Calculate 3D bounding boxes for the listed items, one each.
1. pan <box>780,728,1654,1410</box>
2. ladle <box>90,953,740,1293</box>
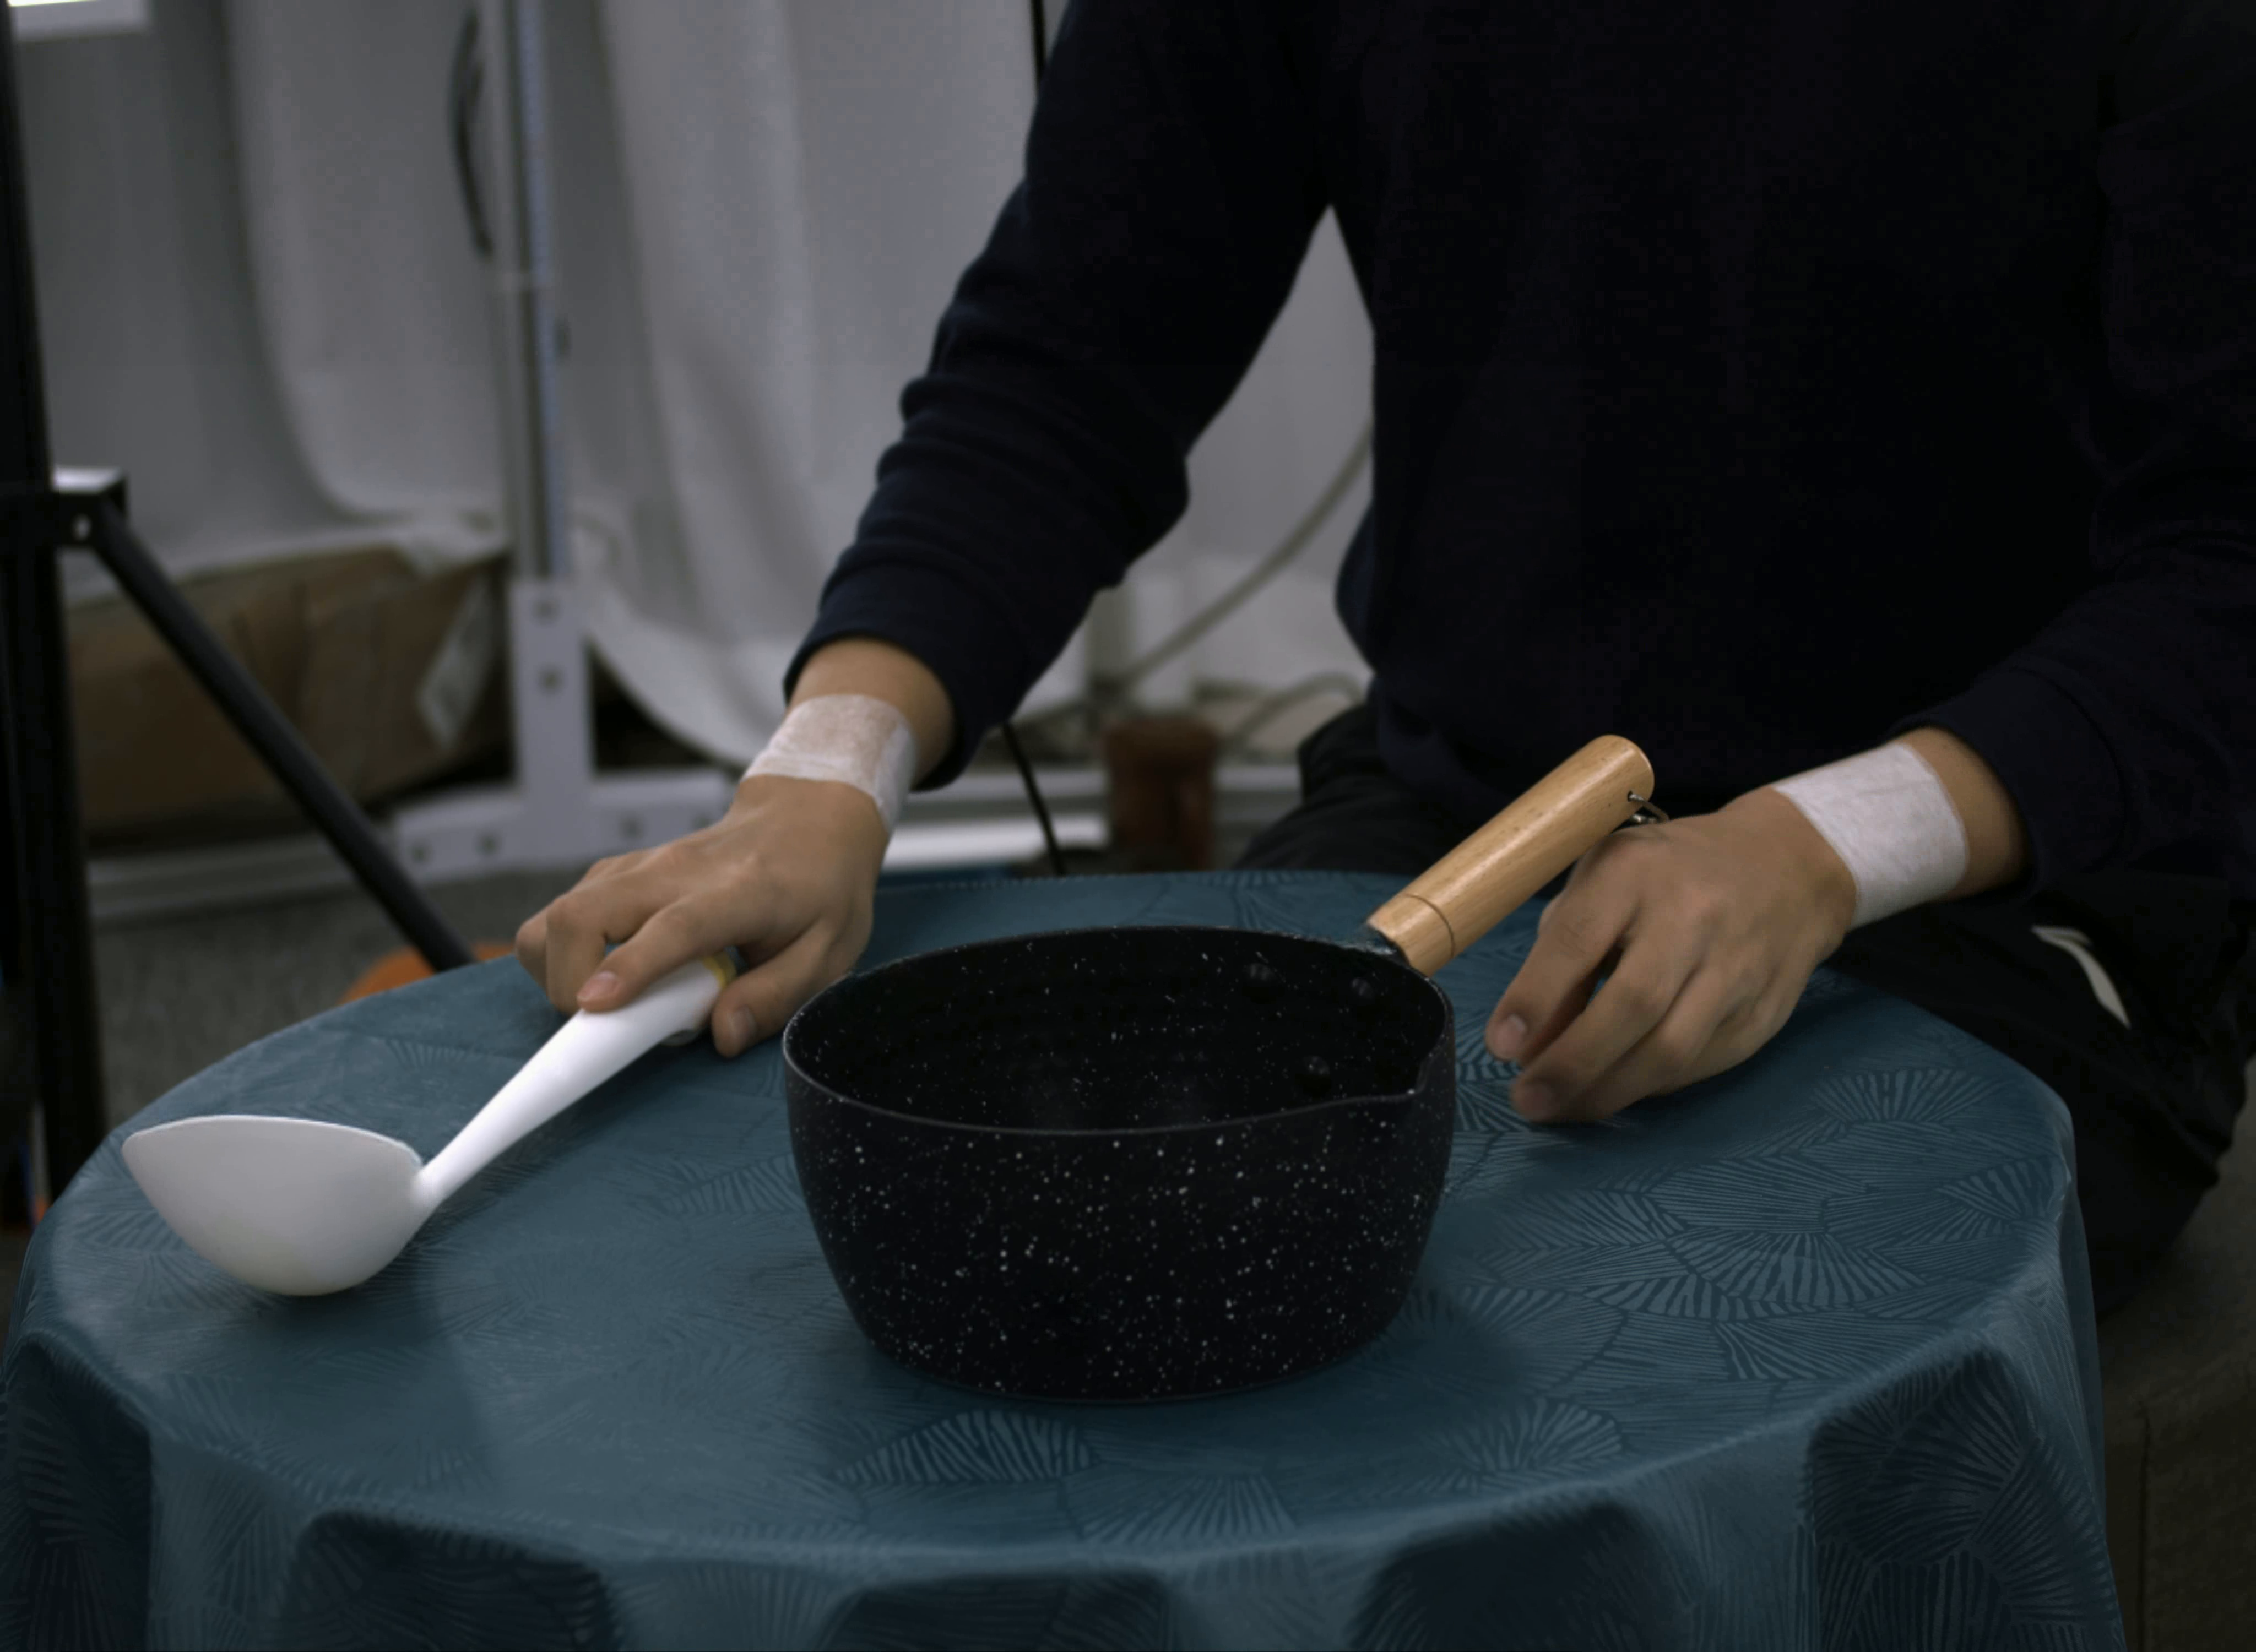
[{"bbox_3d":[0.047,0.064,1.509,0.212,0.108,0.336,9,20,38],"label":"pan"},{"bbox_3d":[-0.201,0.074,1.601,0.091,0.070,0.289,-14,9,27],"label":"ladle"}]
